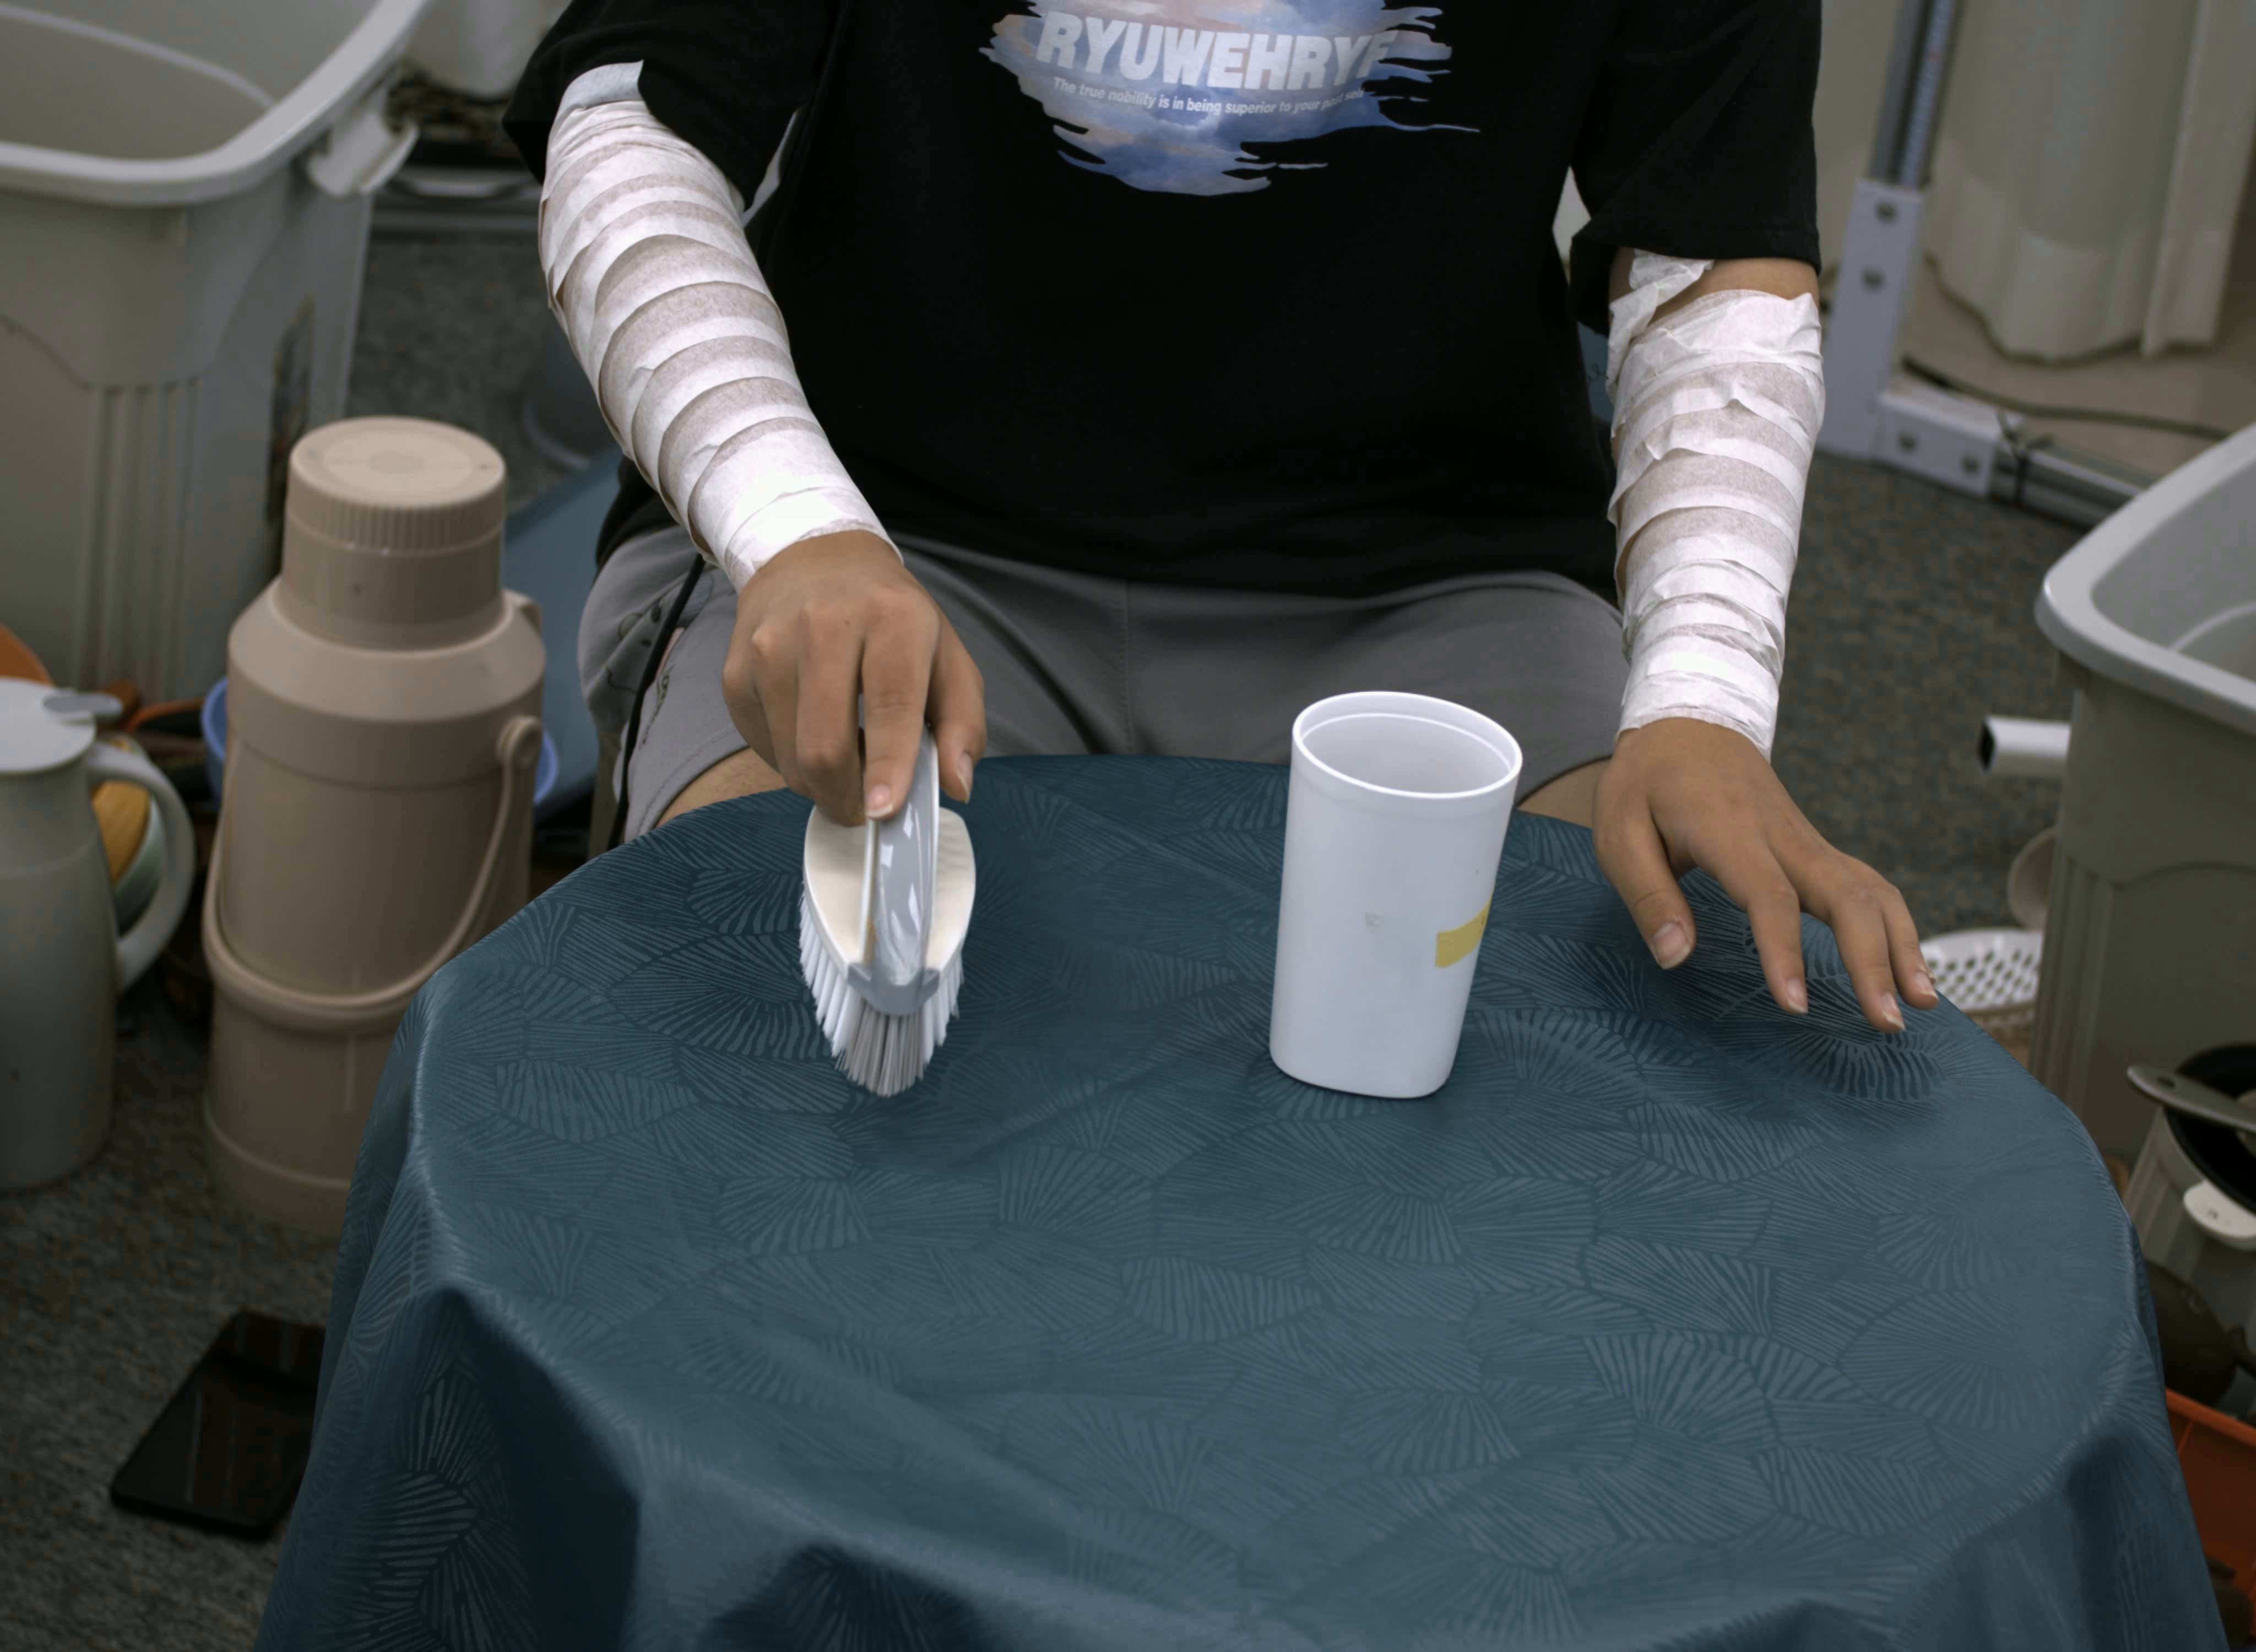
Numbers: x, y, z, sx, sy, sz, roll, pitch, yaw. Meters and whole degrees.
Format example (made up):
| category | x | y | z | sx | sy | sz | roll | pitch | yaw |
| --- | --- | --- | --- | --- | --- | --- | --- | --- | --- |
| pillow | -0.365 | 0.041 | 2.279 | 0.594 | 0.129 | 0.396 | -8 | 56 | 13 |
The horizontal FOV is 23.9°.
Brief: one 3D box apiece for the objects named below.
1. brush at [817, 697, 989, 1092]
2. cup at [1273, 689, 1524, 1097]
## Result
| category | x | y | z | sx | sy | sz | roll | pitch | yaw |
| --- | --- | --- | --- | --- | --- | --- | --- | --- | --- |
| brush | -0.079 | 0.016 | 1.865 | 0.061 | 0.094 | 0.176 | 1 | 26 | -2 |
| cup | 0.092 | 0.025 | 1.880 | 0.081 | 0.125 | 0.082 | 5 | 28 | -3 |
